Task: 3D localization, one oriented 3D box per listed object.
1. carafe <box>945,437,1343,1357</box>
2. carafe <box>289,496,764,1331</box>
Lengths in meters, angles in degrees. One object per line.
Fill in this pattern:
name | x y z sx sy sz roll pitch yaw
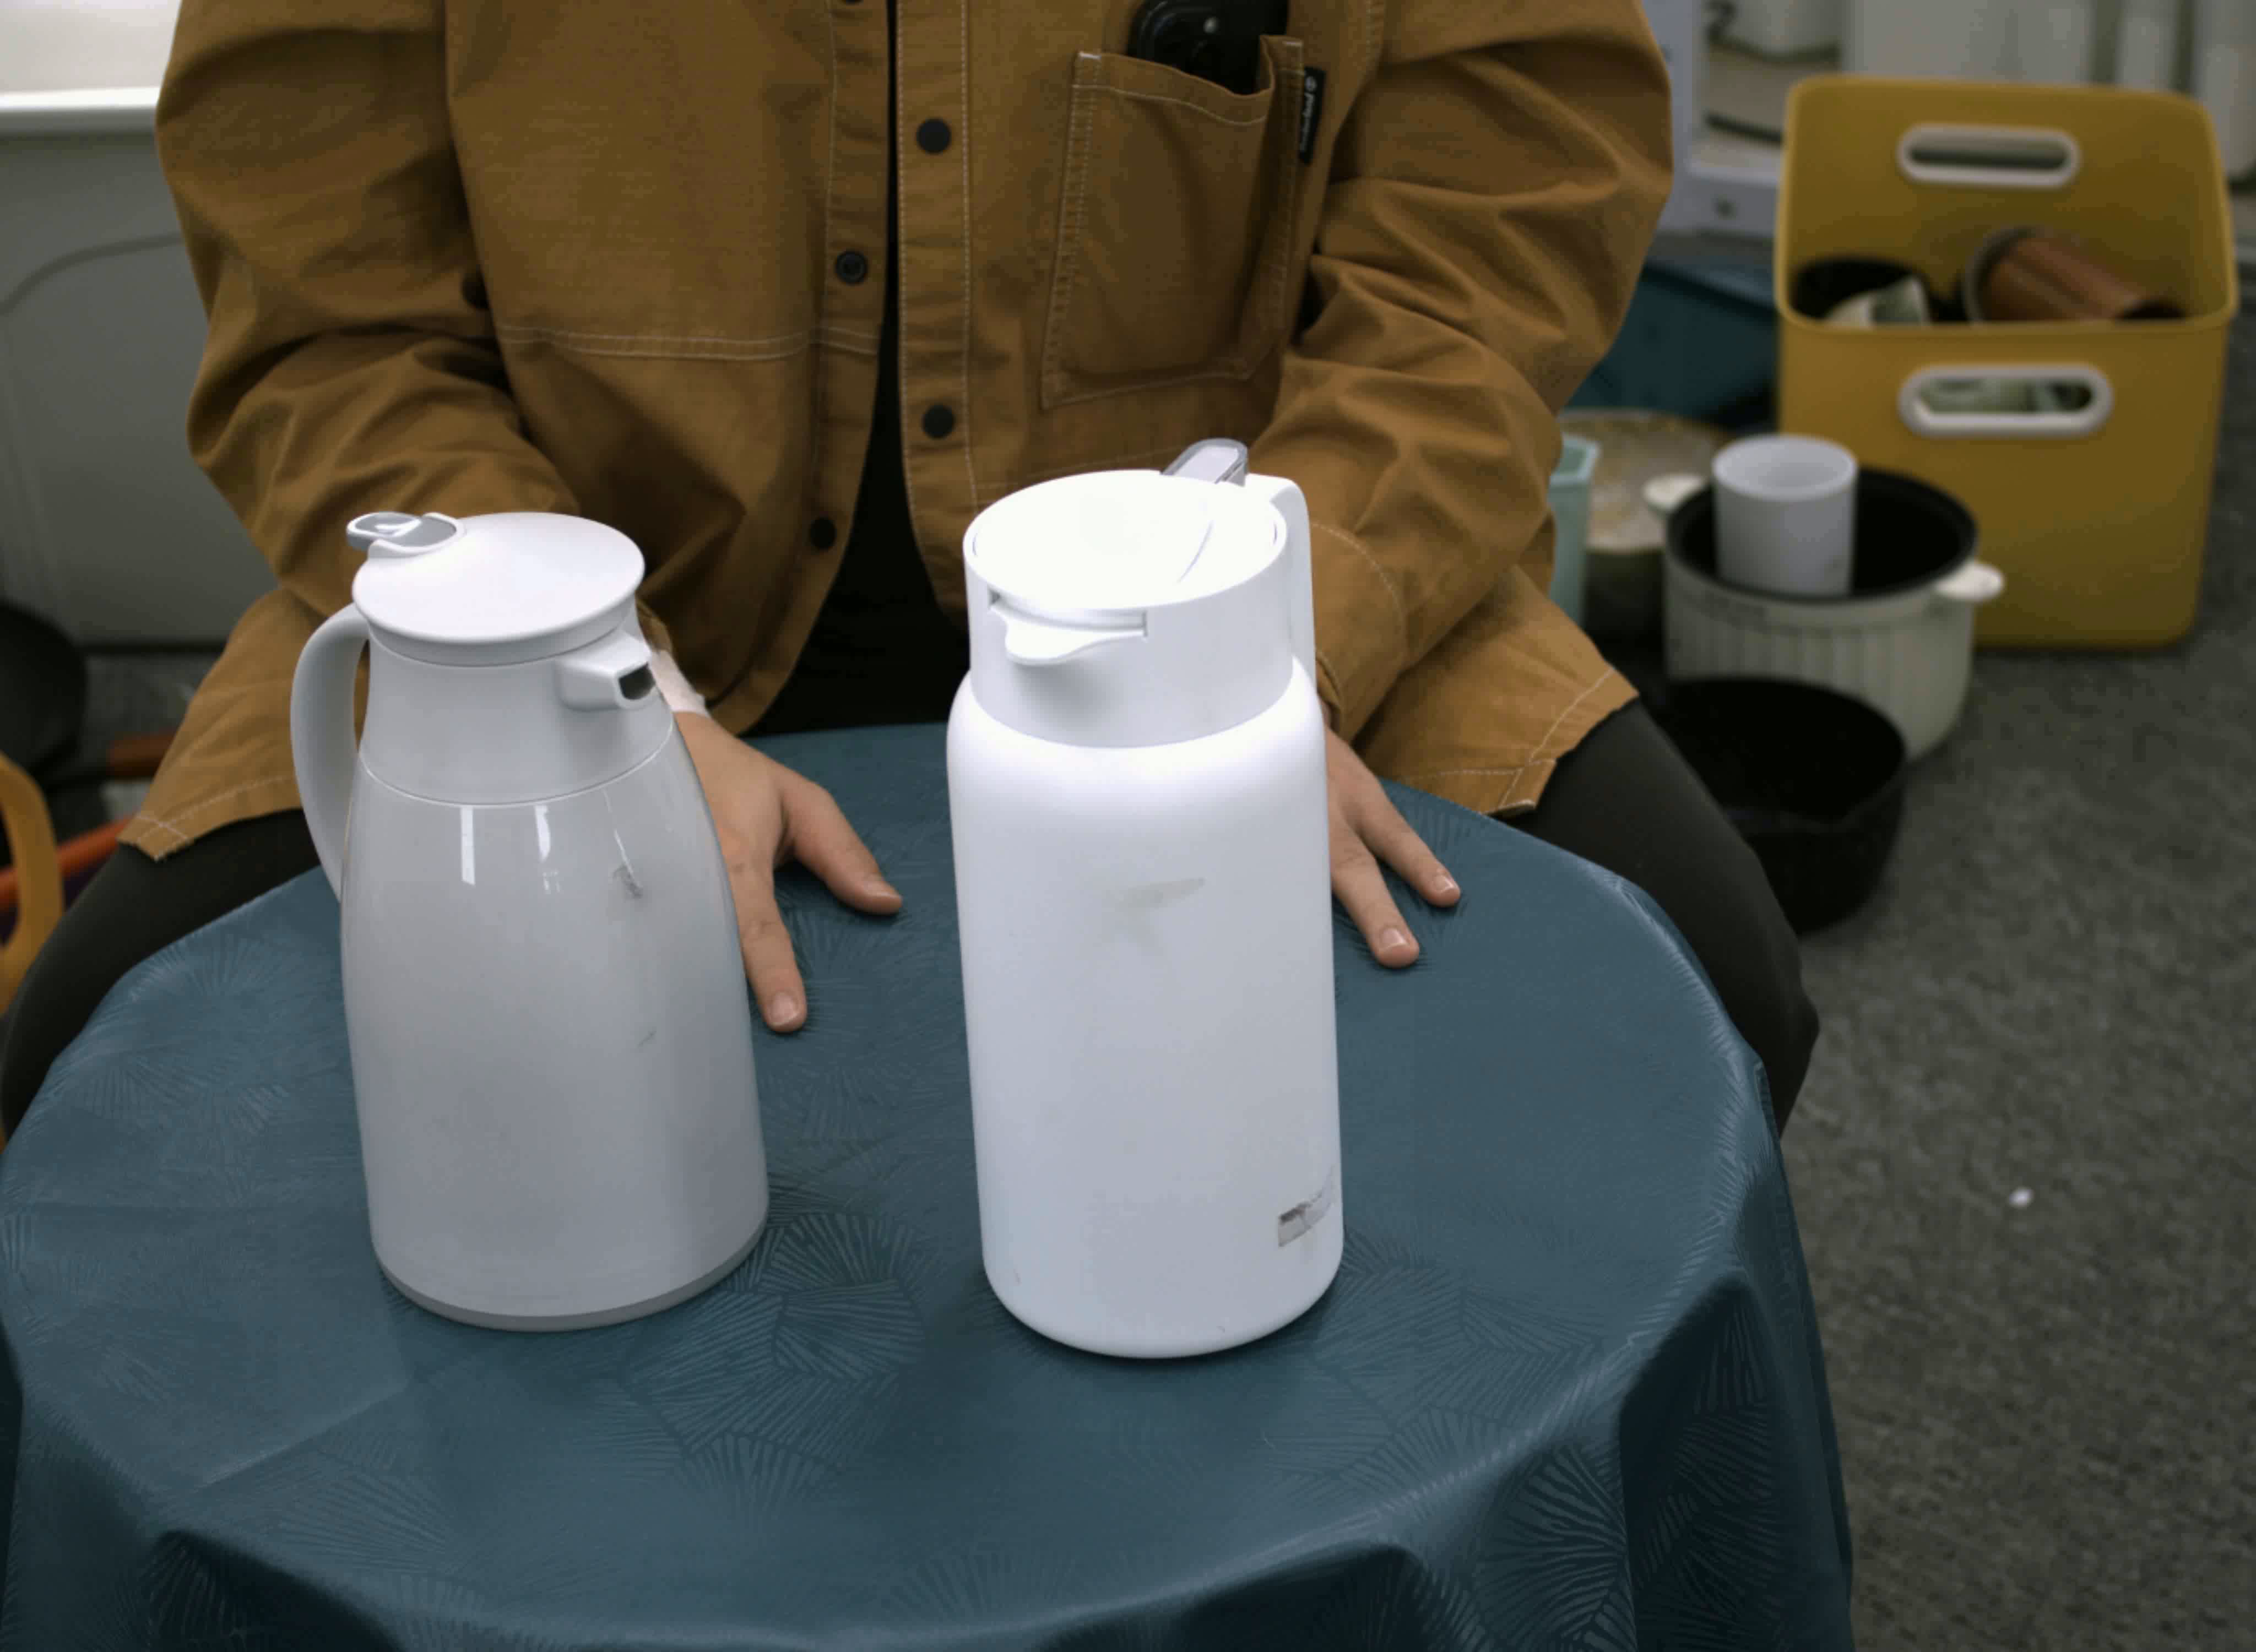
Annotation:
carafe | 0.011 0.018 1.770 0.123 0.266 0.176 7 28 24
carafe | -0.206 0.018 1.812 0.167 0.246 0.134 18 33 38
